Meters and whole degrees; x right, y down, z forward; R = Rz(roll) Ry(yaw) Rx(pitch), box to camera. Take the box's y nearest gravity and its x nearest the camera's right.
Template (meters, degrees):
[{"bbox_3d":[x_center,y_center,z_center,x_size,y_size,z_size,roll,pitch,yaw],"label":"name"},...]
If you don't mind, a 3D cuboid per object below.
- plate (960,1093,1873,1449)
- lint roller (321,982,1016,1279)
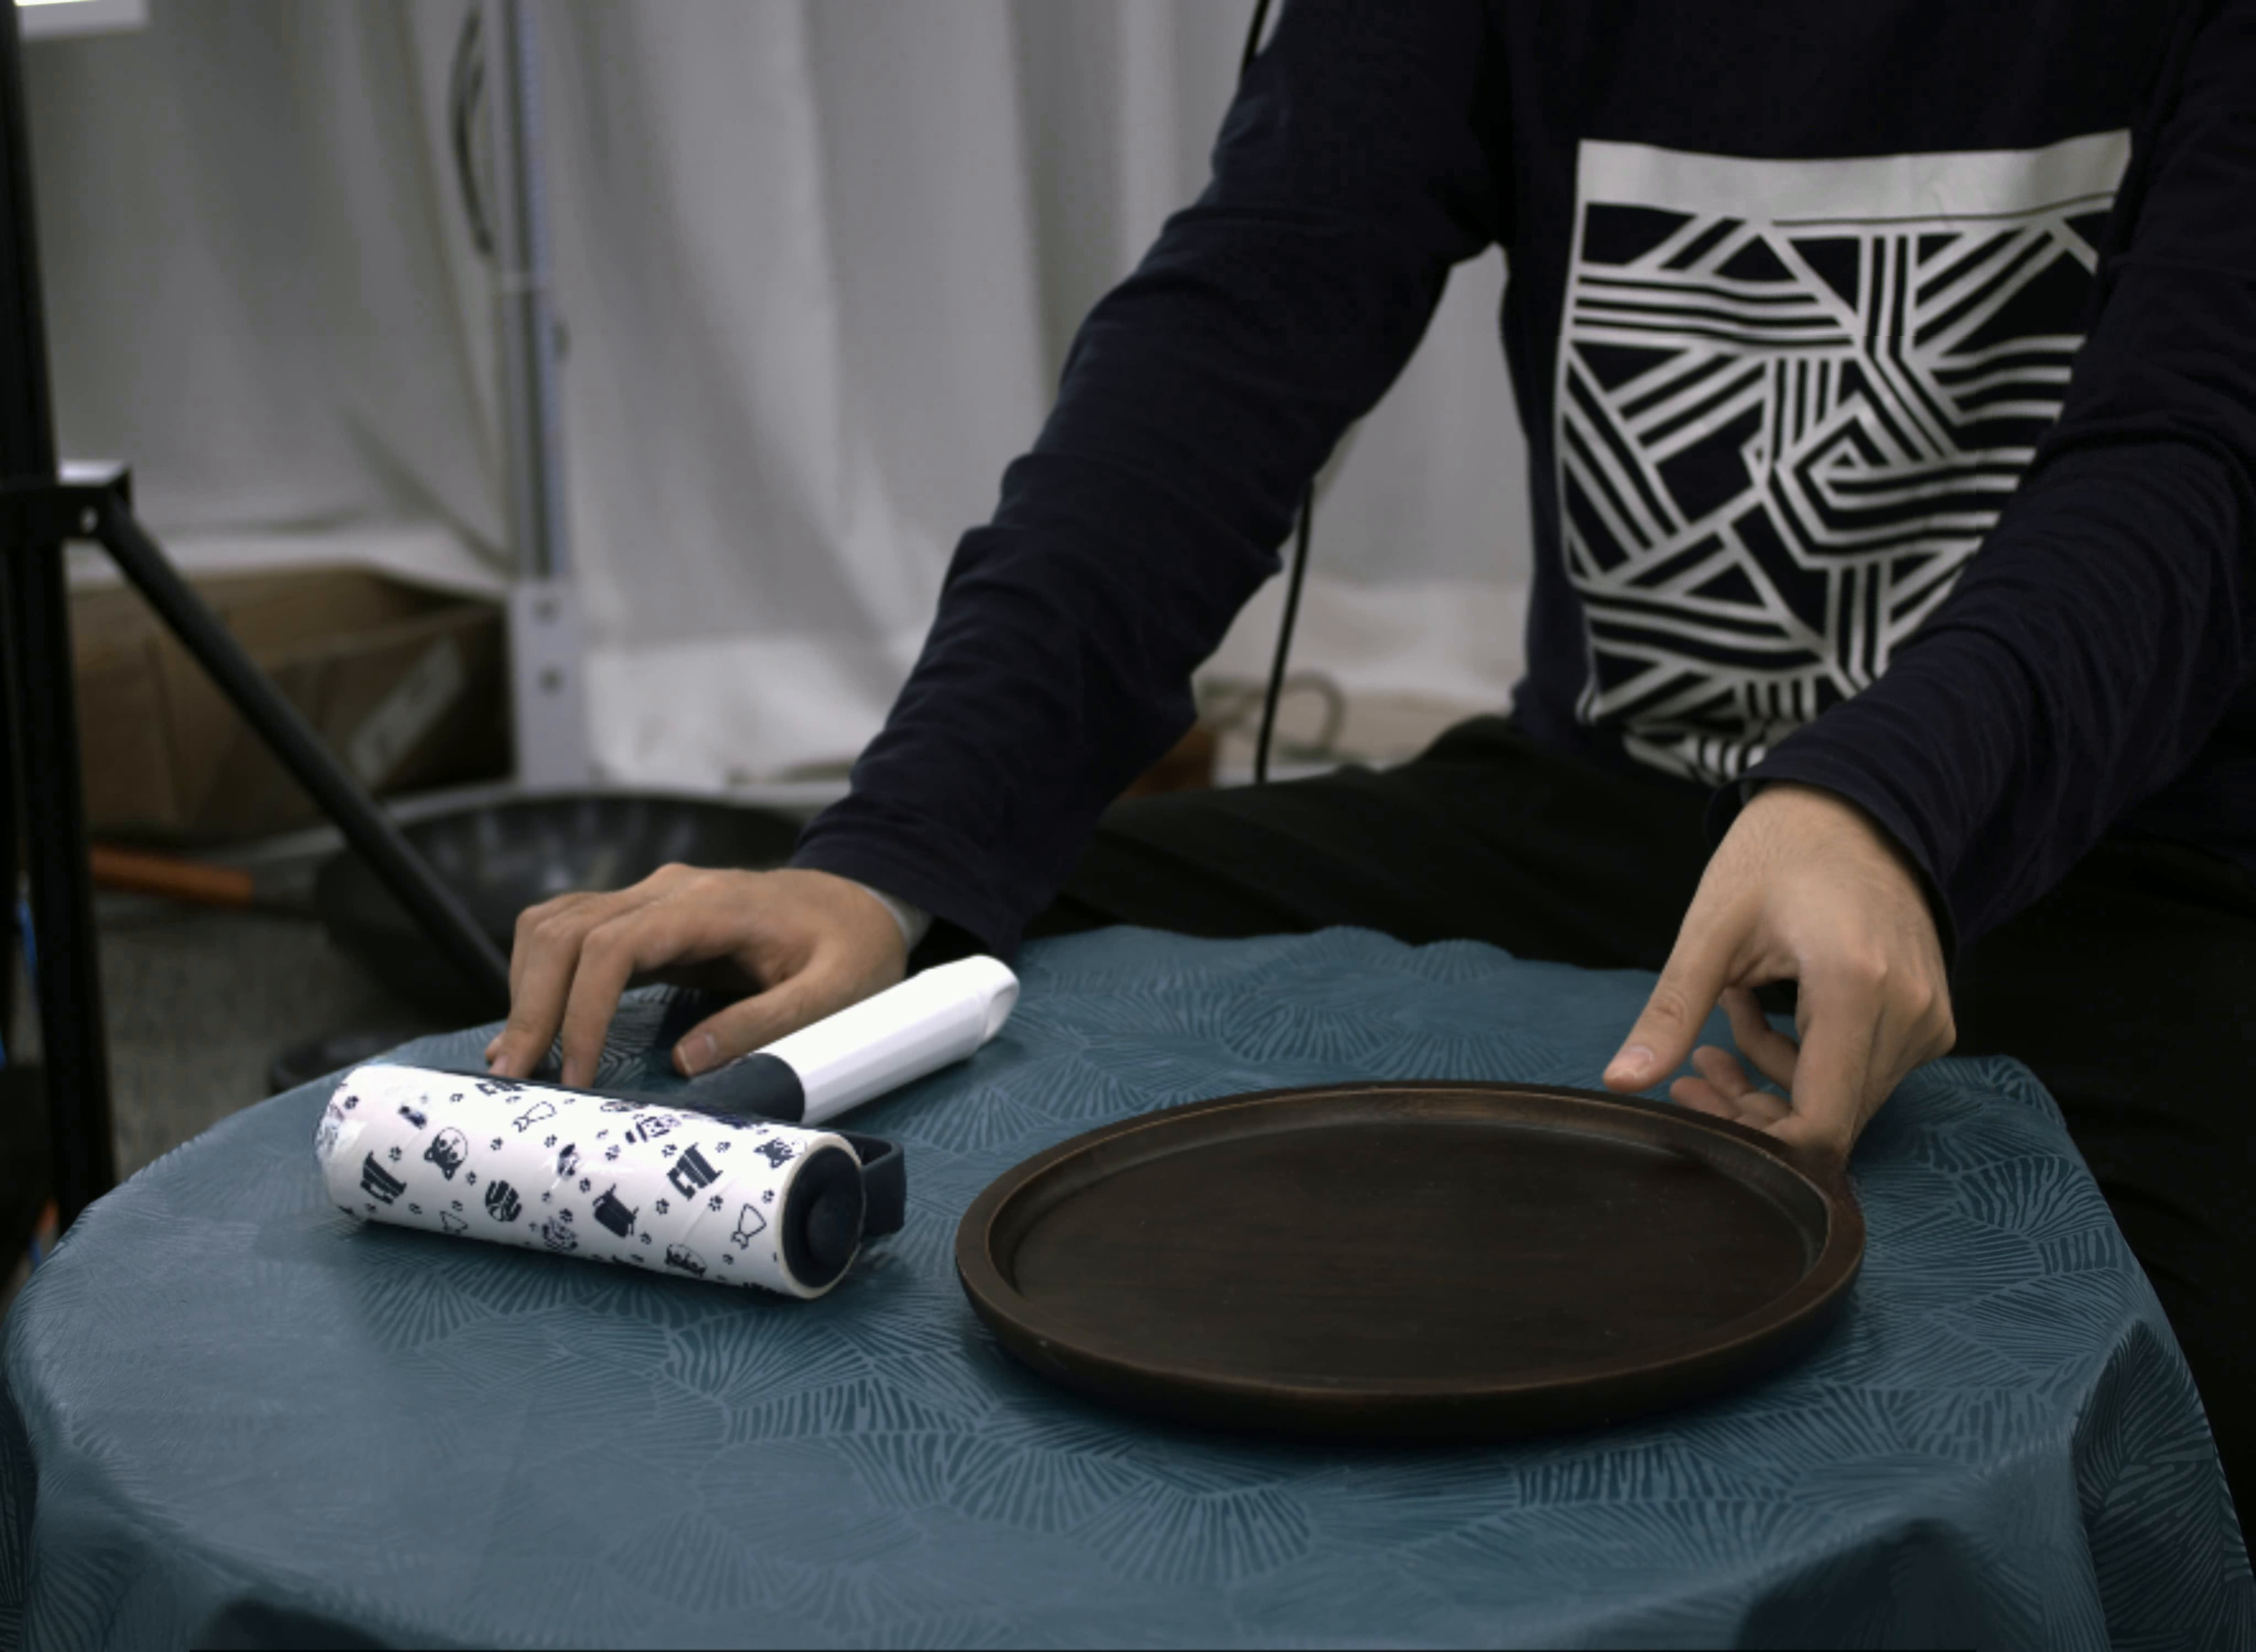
[{"bbox_3d":[0.079,0.120,1.466,0.253,0.029,0.256,-2,14,-1],"label":"plate"},{"bbox_3d":[-0.105,0.077,1.612,0.179,0.050,0.242,5,15,30],"label":"lint roller"}]
